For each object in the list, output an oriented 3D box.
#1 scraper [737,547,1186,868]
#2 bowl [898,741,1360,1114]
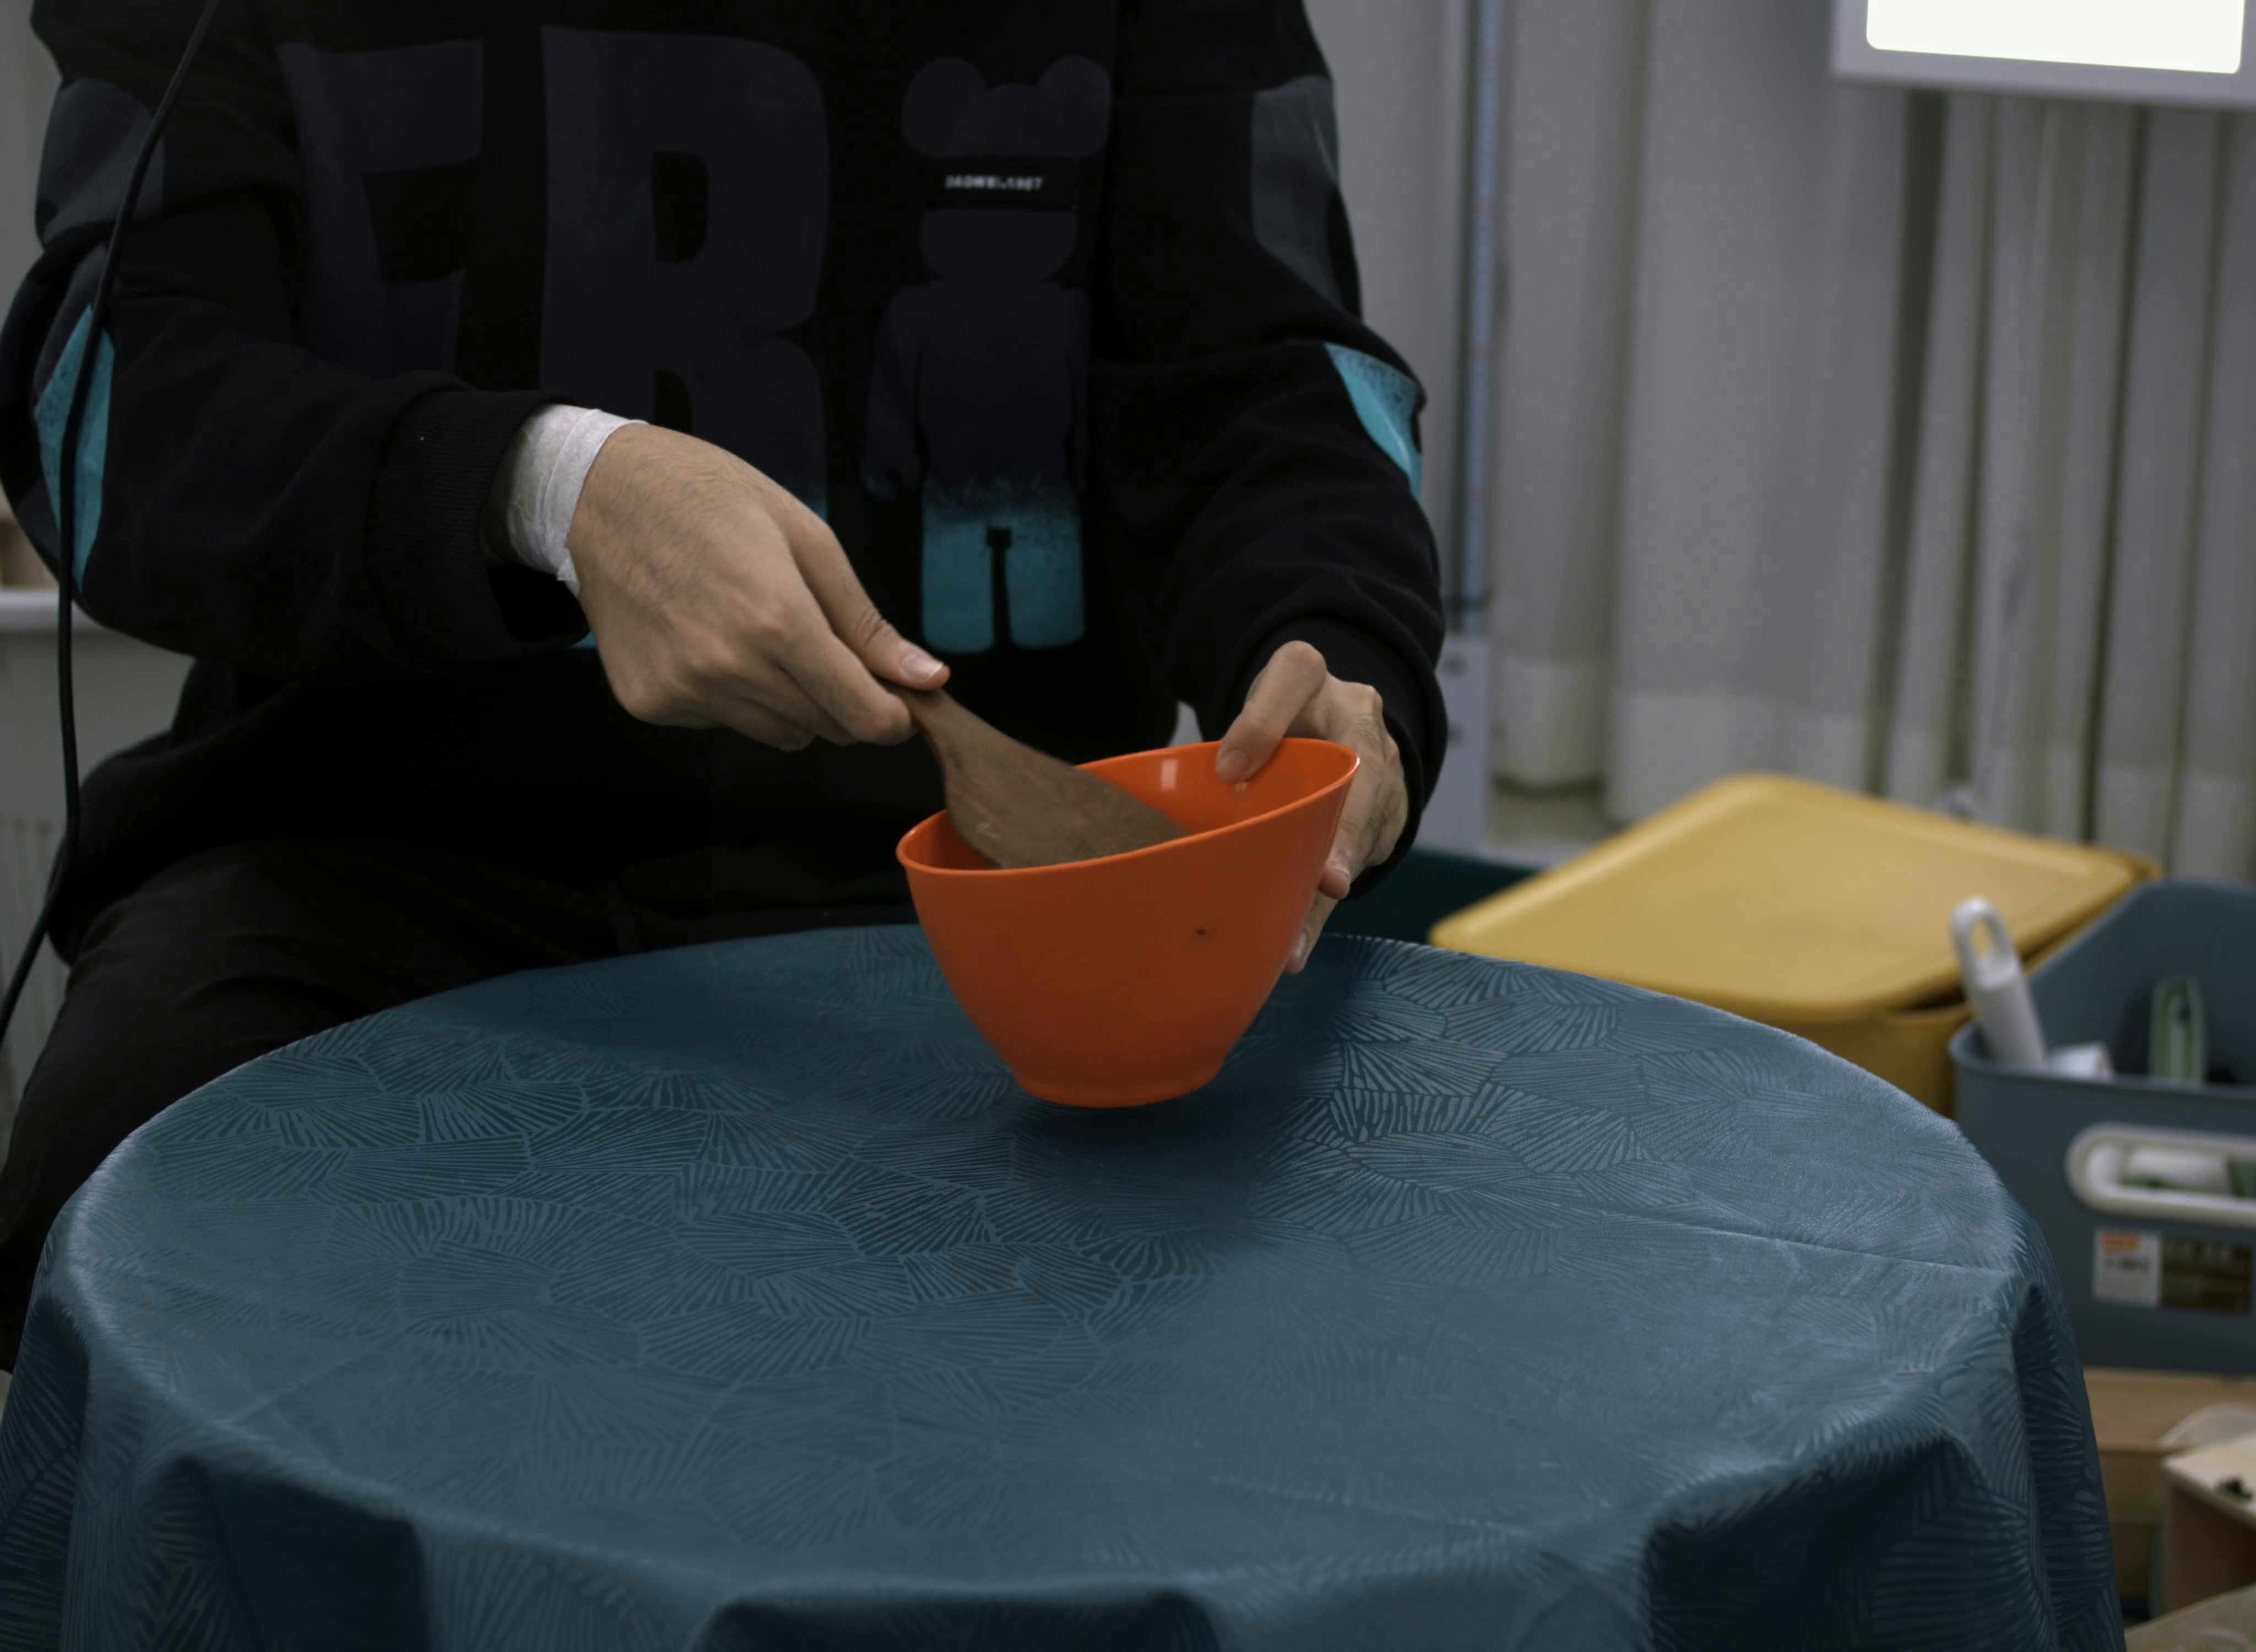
[{"bbox_3d":[-0.063,-0.036,1.723,0.076,0.011,0.208,-10,40,-39],"label":"scraper"},{"bbox_3d":[0.003,0.033,1.665,0.147,0.105,0.147,-4,19,2],"label":"bowl"}]
